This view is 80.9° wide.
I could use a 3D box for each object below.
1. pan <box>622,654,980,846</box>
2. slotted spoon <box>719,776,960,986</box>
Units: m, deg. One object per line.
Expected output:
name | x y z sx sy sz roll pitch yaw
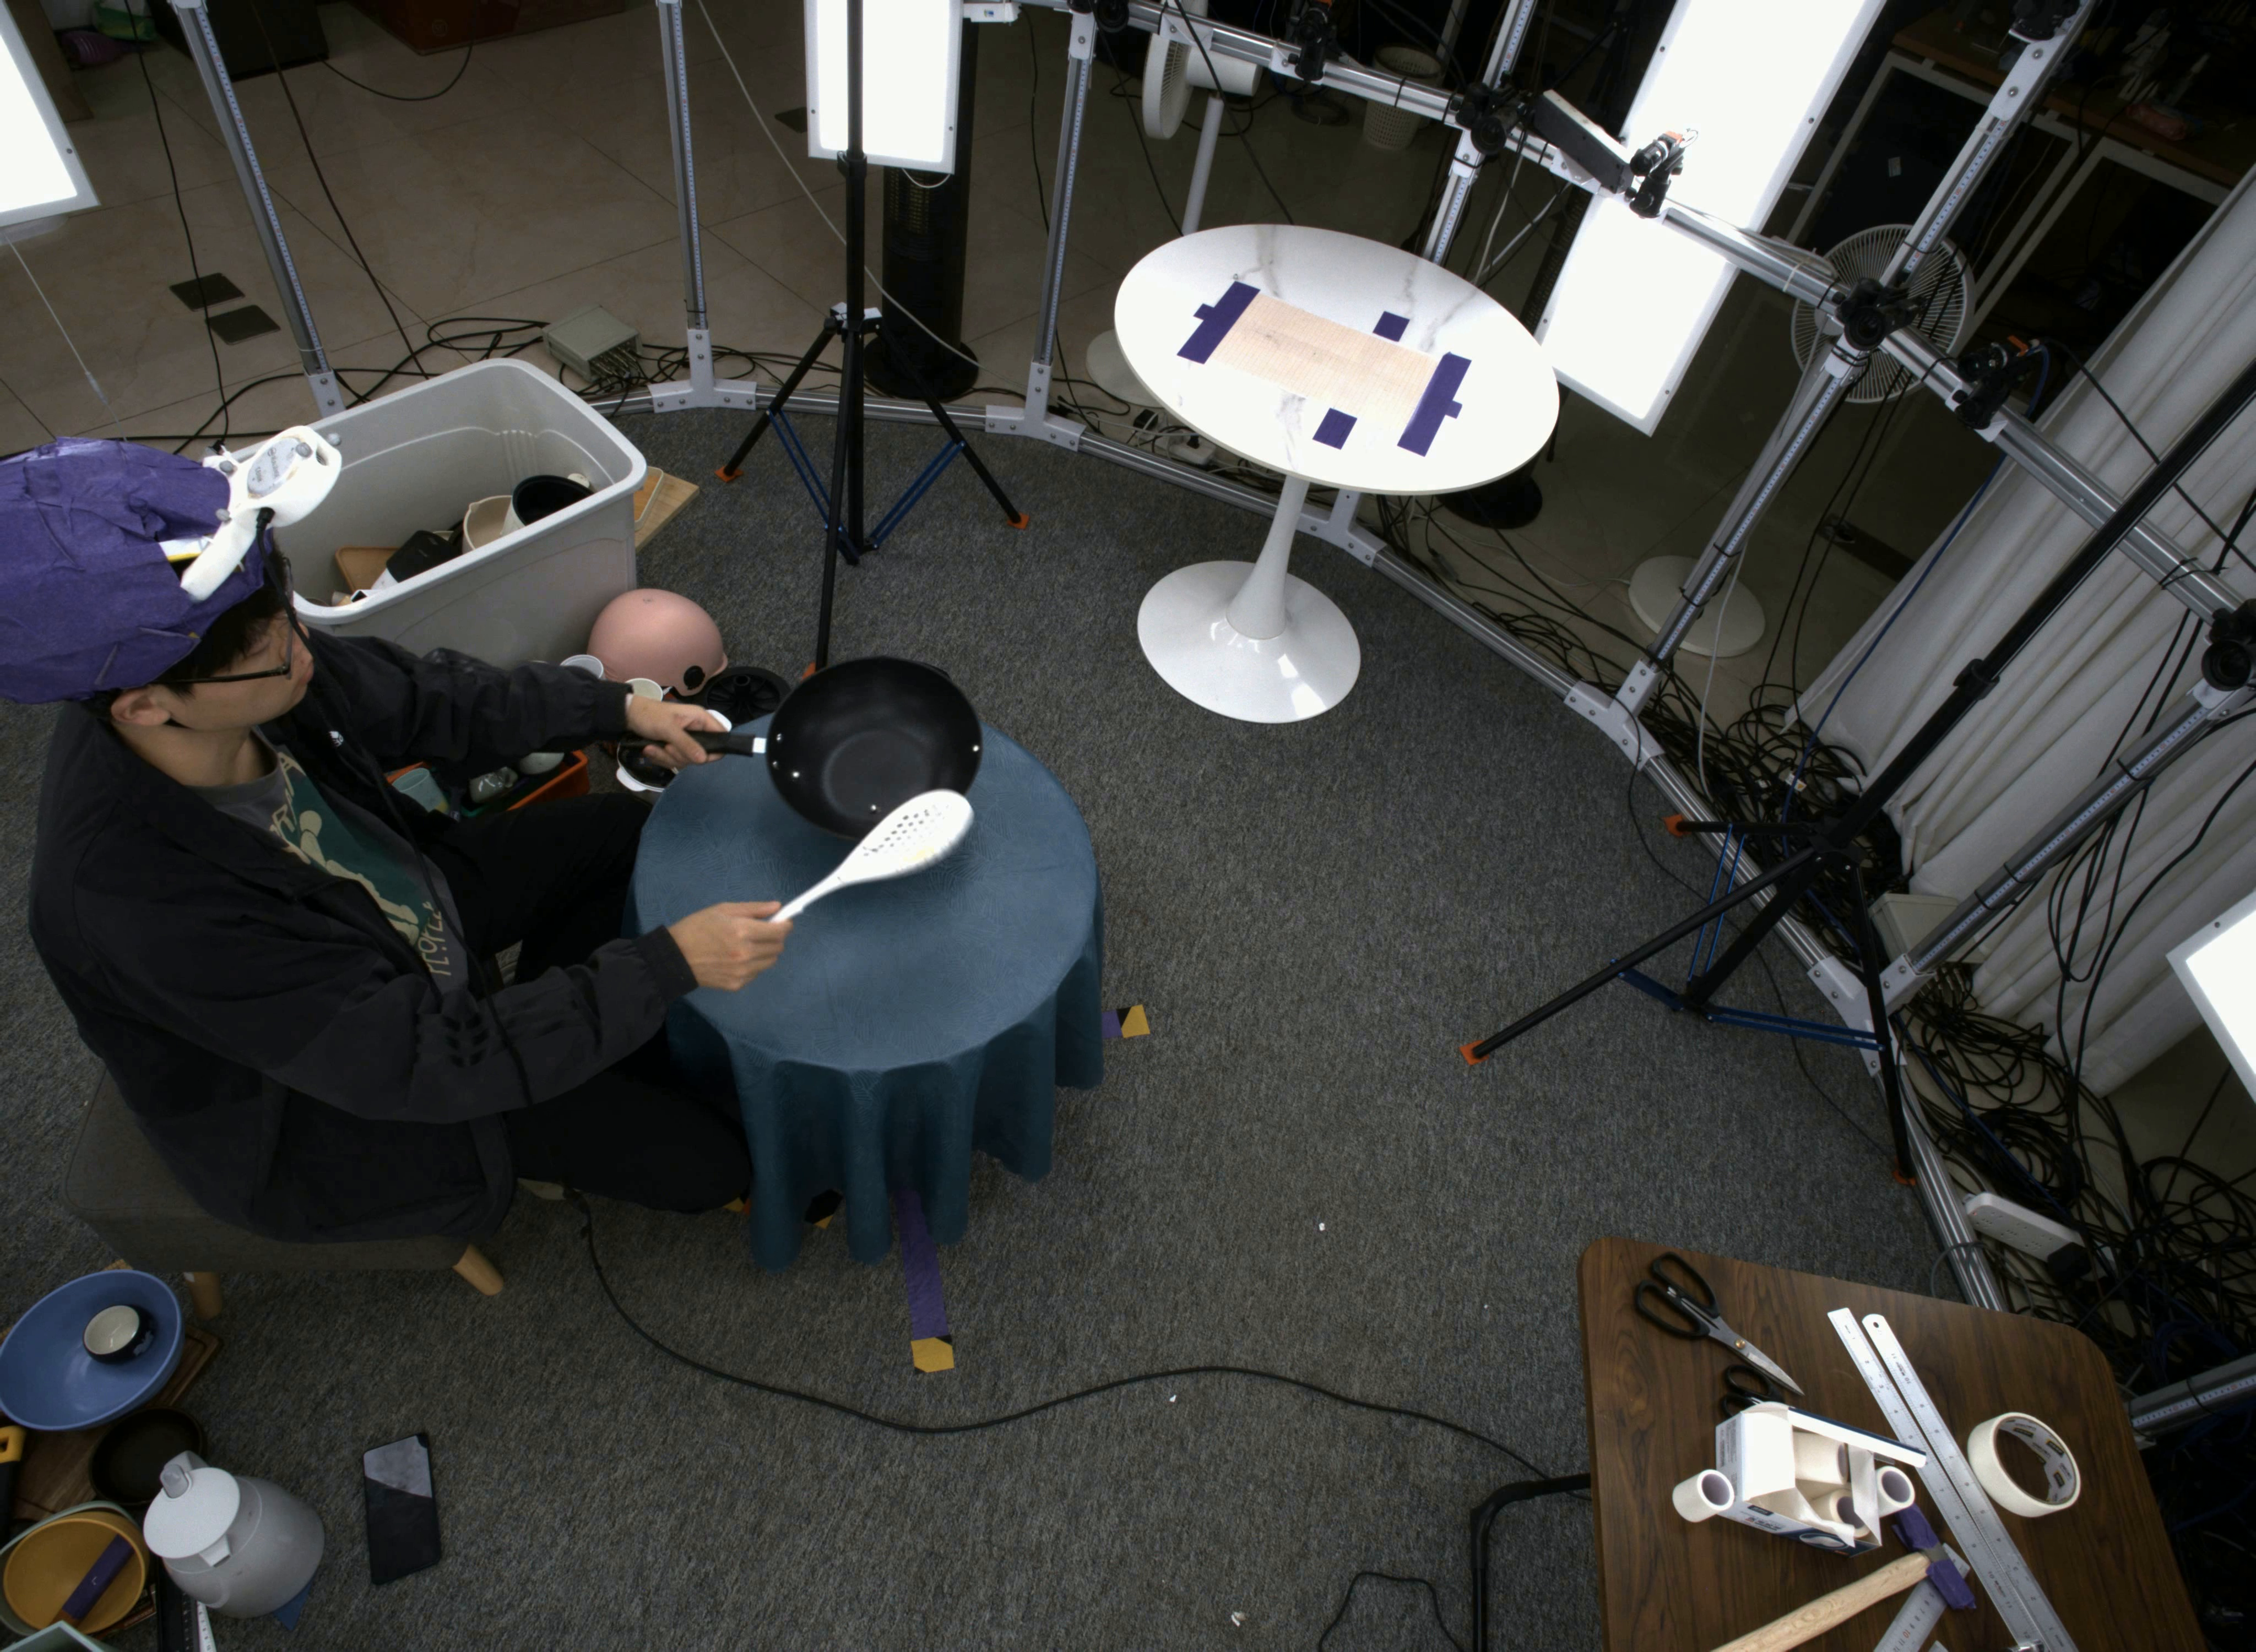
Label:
pan | -0.422 -0.086 1.684 0.461 0.088 0.284 1 62 -6
slotted spoon | -0.332 0.059 1.487 0.348 0.052 0.132 -34 28 -16
